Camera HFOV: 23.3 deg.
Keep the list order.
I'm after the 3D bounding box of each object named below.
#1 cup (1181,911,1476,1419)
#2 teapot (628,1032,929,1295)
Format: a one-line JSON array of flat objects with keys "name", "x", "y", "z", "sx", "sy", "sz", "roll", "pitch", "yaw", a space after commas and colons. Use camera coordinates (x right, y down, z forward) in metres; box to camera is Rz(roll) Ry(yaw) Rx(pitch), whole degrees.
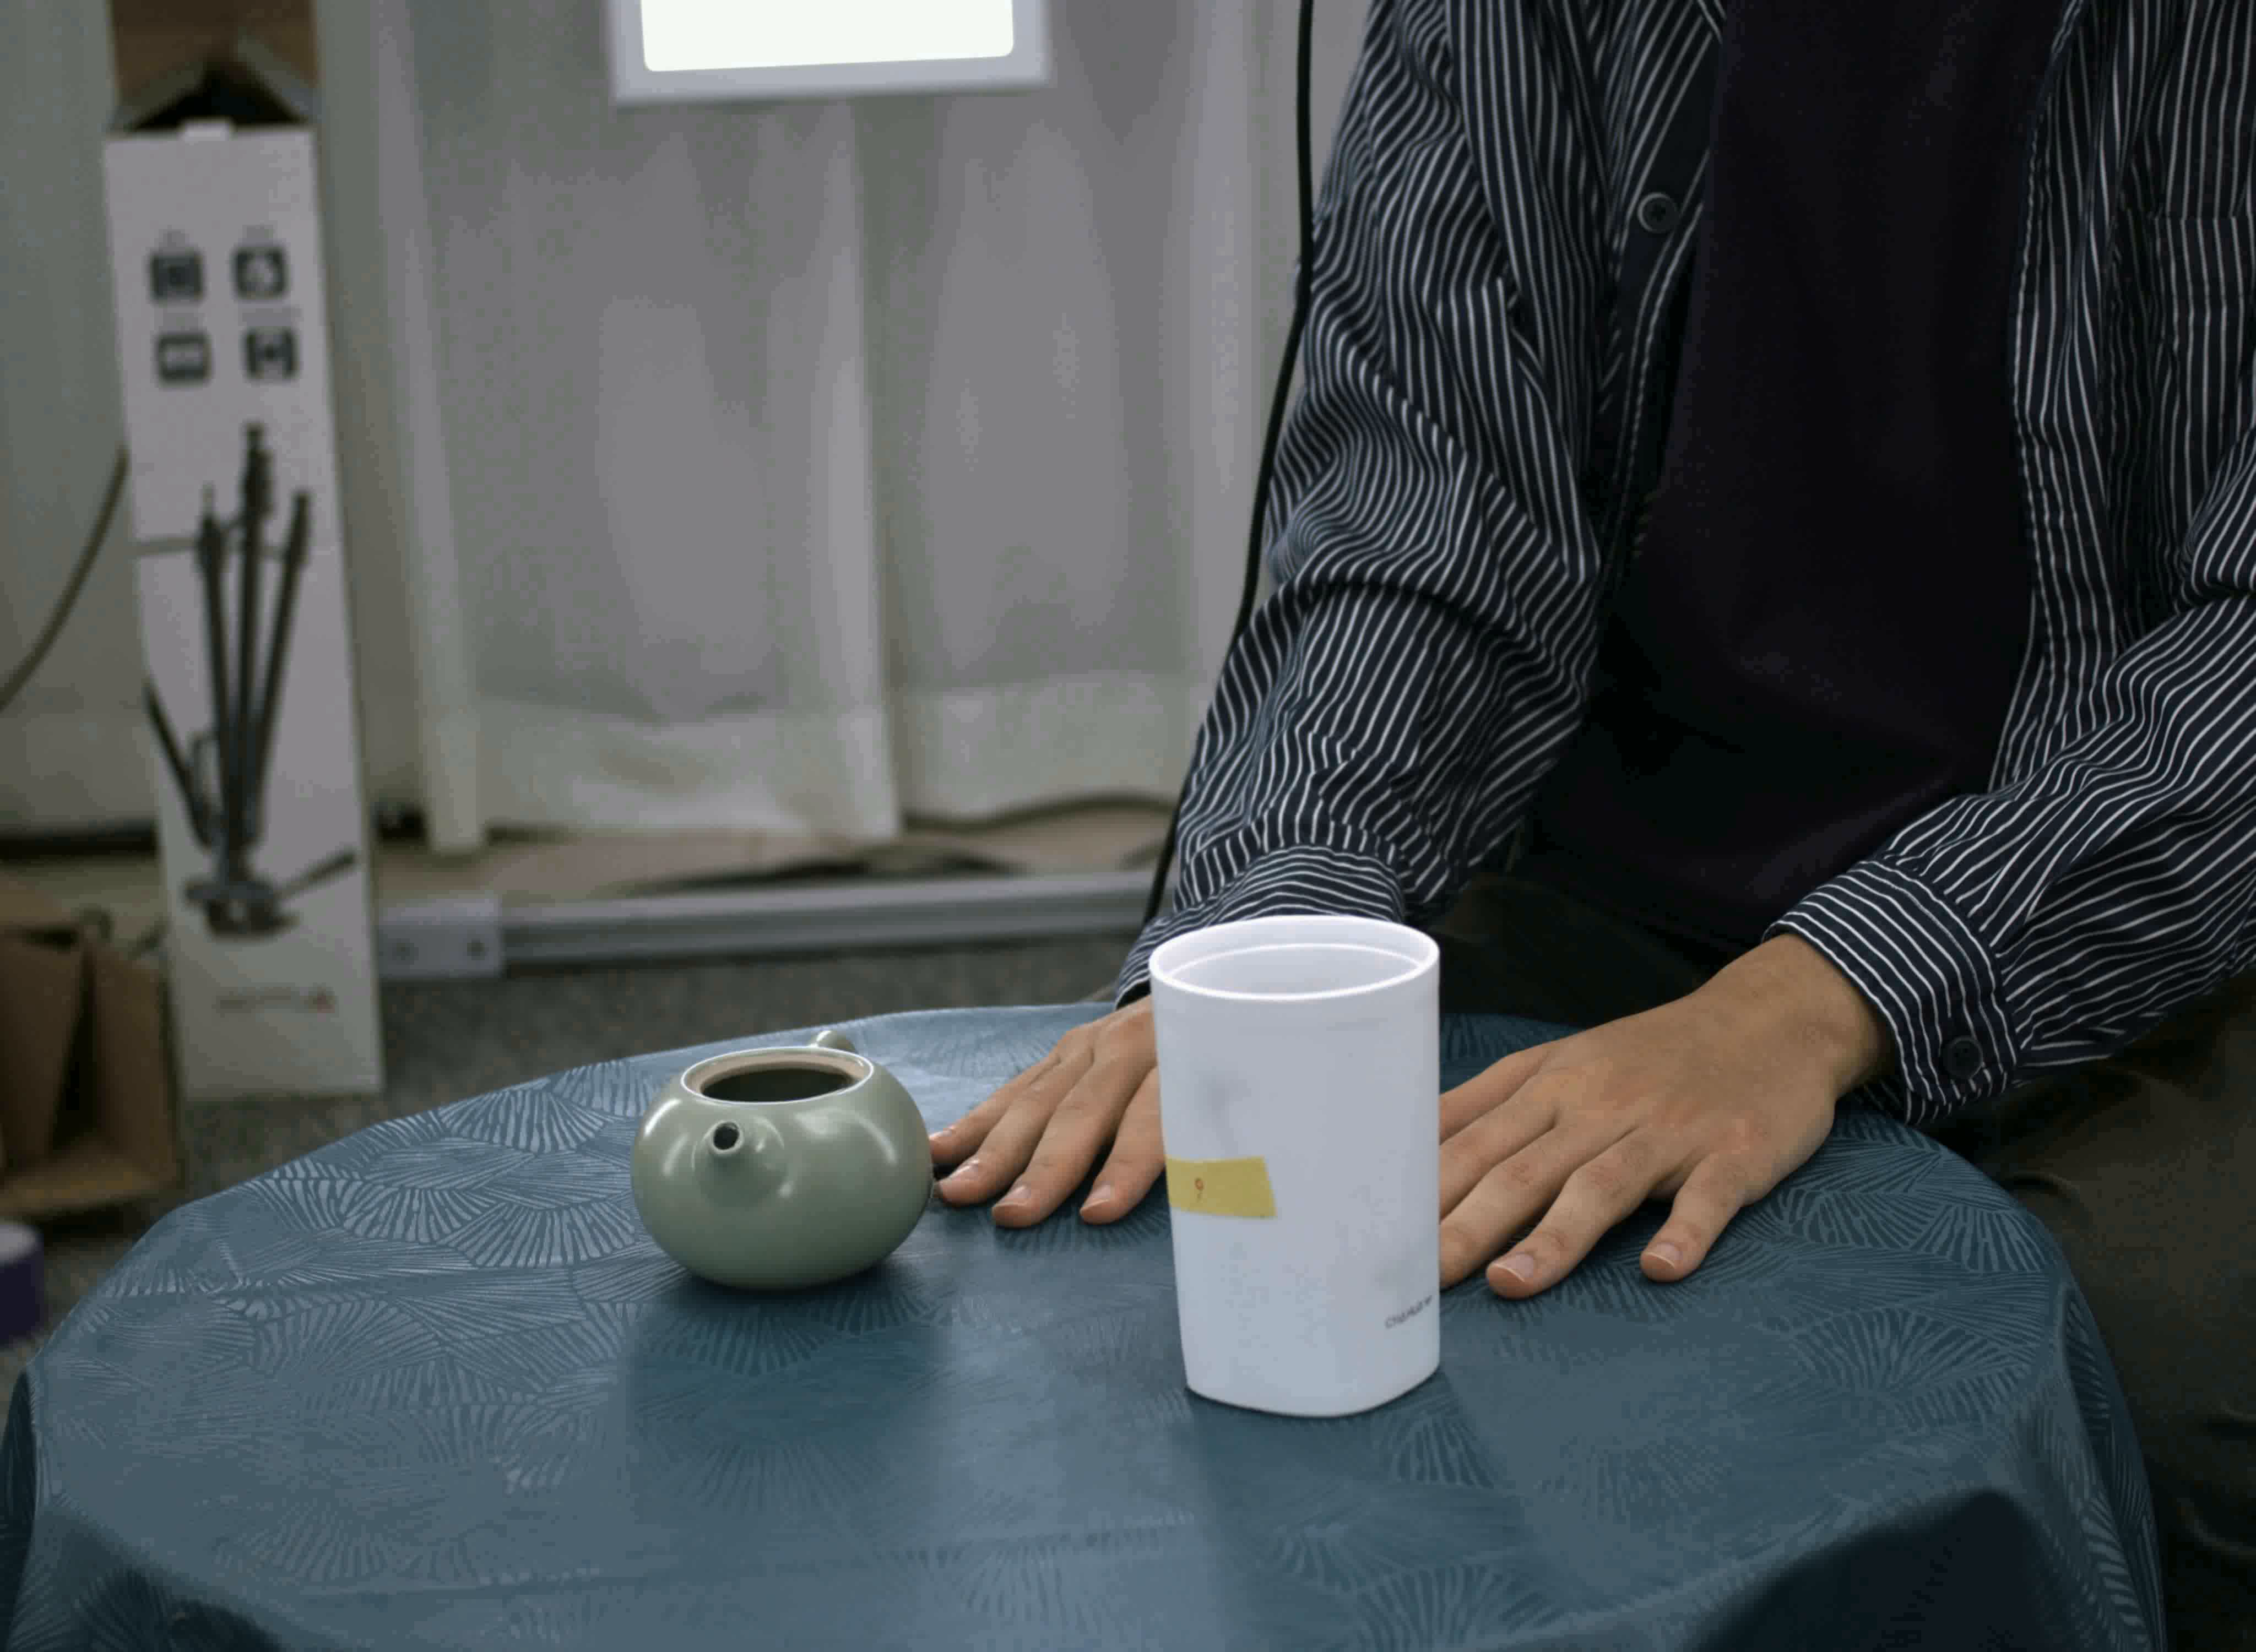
[{"name": "cup", "x": 0.058, "y": 0.095, "z": 1.526, "sx": 0.081, "sy": 0.125, "sz": 0.082, "roll": -3, "pitch": 14, "yaw": 1}, {"name": "teapot", "x": -0.103, "y": 0.103, "z": 1.670, "sx": 0.091, "sy": 0.061, "sz": 0.129, "roll": 0, "pitch": 14, "yaw": 20}]
